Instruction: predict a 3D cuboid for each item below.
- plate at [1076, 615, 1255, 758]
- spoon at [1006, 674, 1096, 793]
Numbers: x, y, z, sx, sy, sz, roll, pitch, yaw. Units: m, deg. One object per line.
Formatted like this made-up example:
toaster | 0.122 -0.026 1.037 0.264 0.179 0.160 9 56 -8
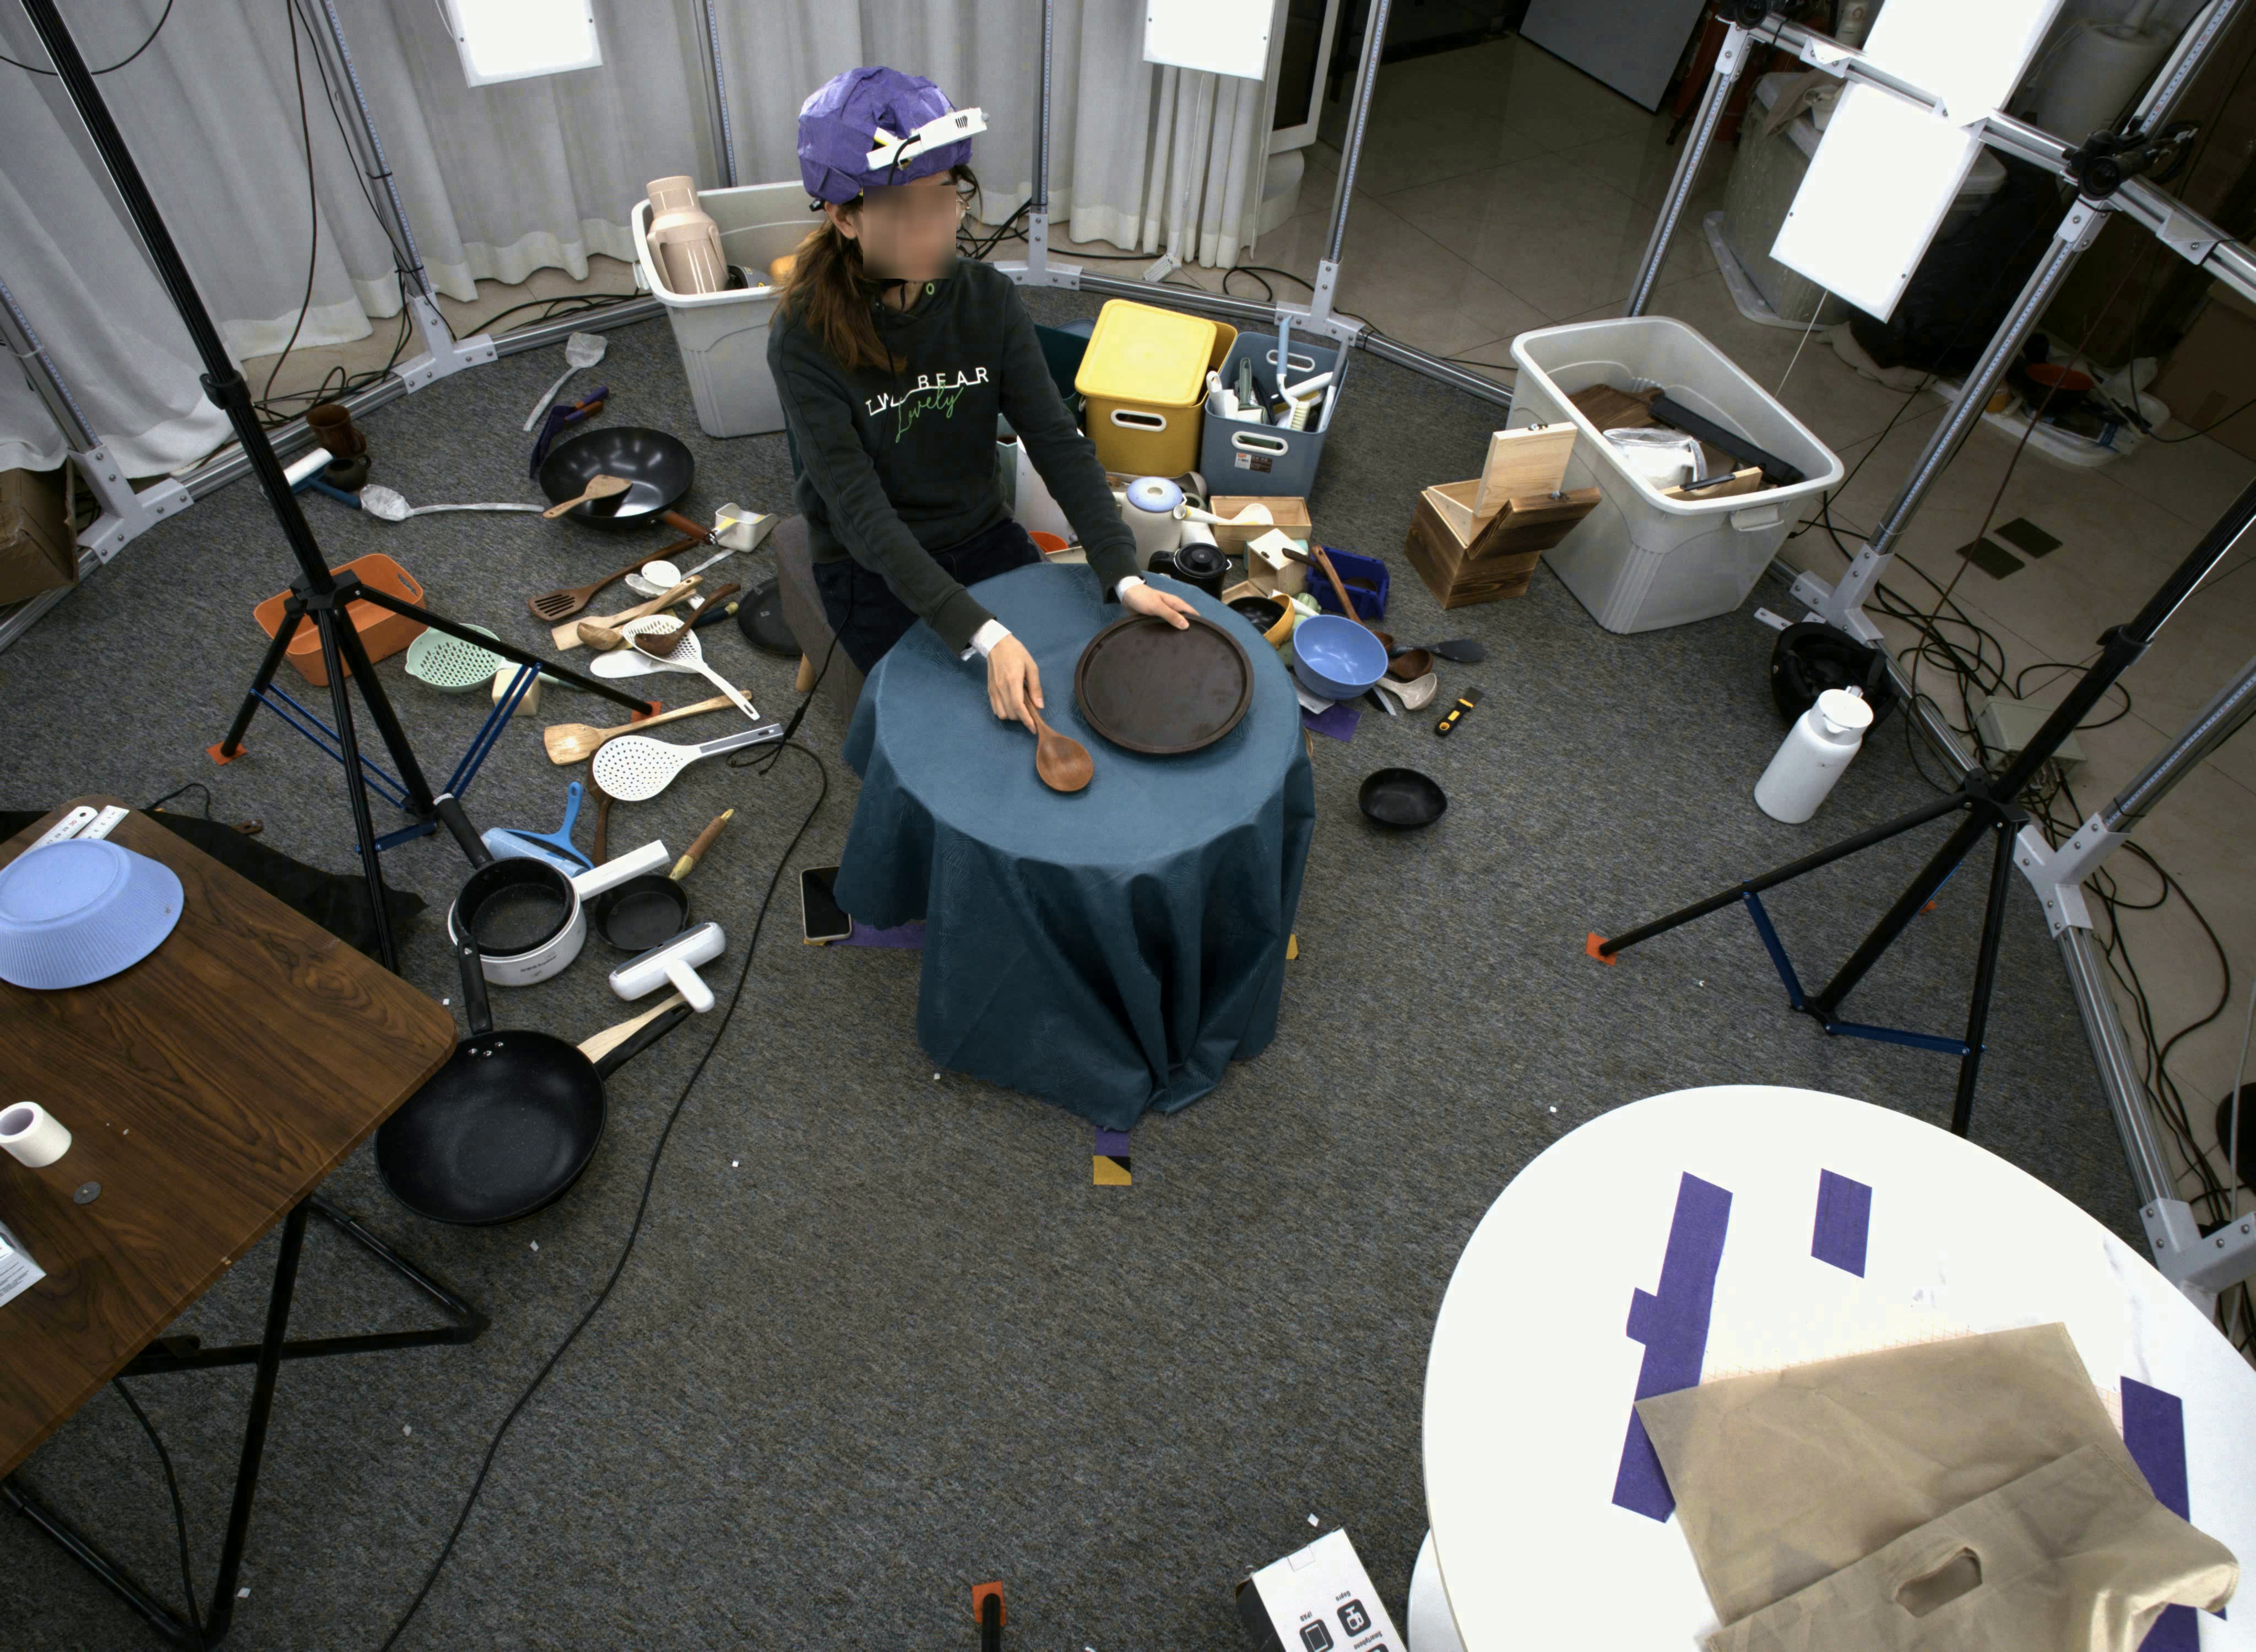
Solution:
plate | 0.053 -0.200 1.823 0.254 0.028 0.261 -1 57 1
spoon | -0.113 -0.129 1.763 0.075 0.017 0.220 -25 62 -12
